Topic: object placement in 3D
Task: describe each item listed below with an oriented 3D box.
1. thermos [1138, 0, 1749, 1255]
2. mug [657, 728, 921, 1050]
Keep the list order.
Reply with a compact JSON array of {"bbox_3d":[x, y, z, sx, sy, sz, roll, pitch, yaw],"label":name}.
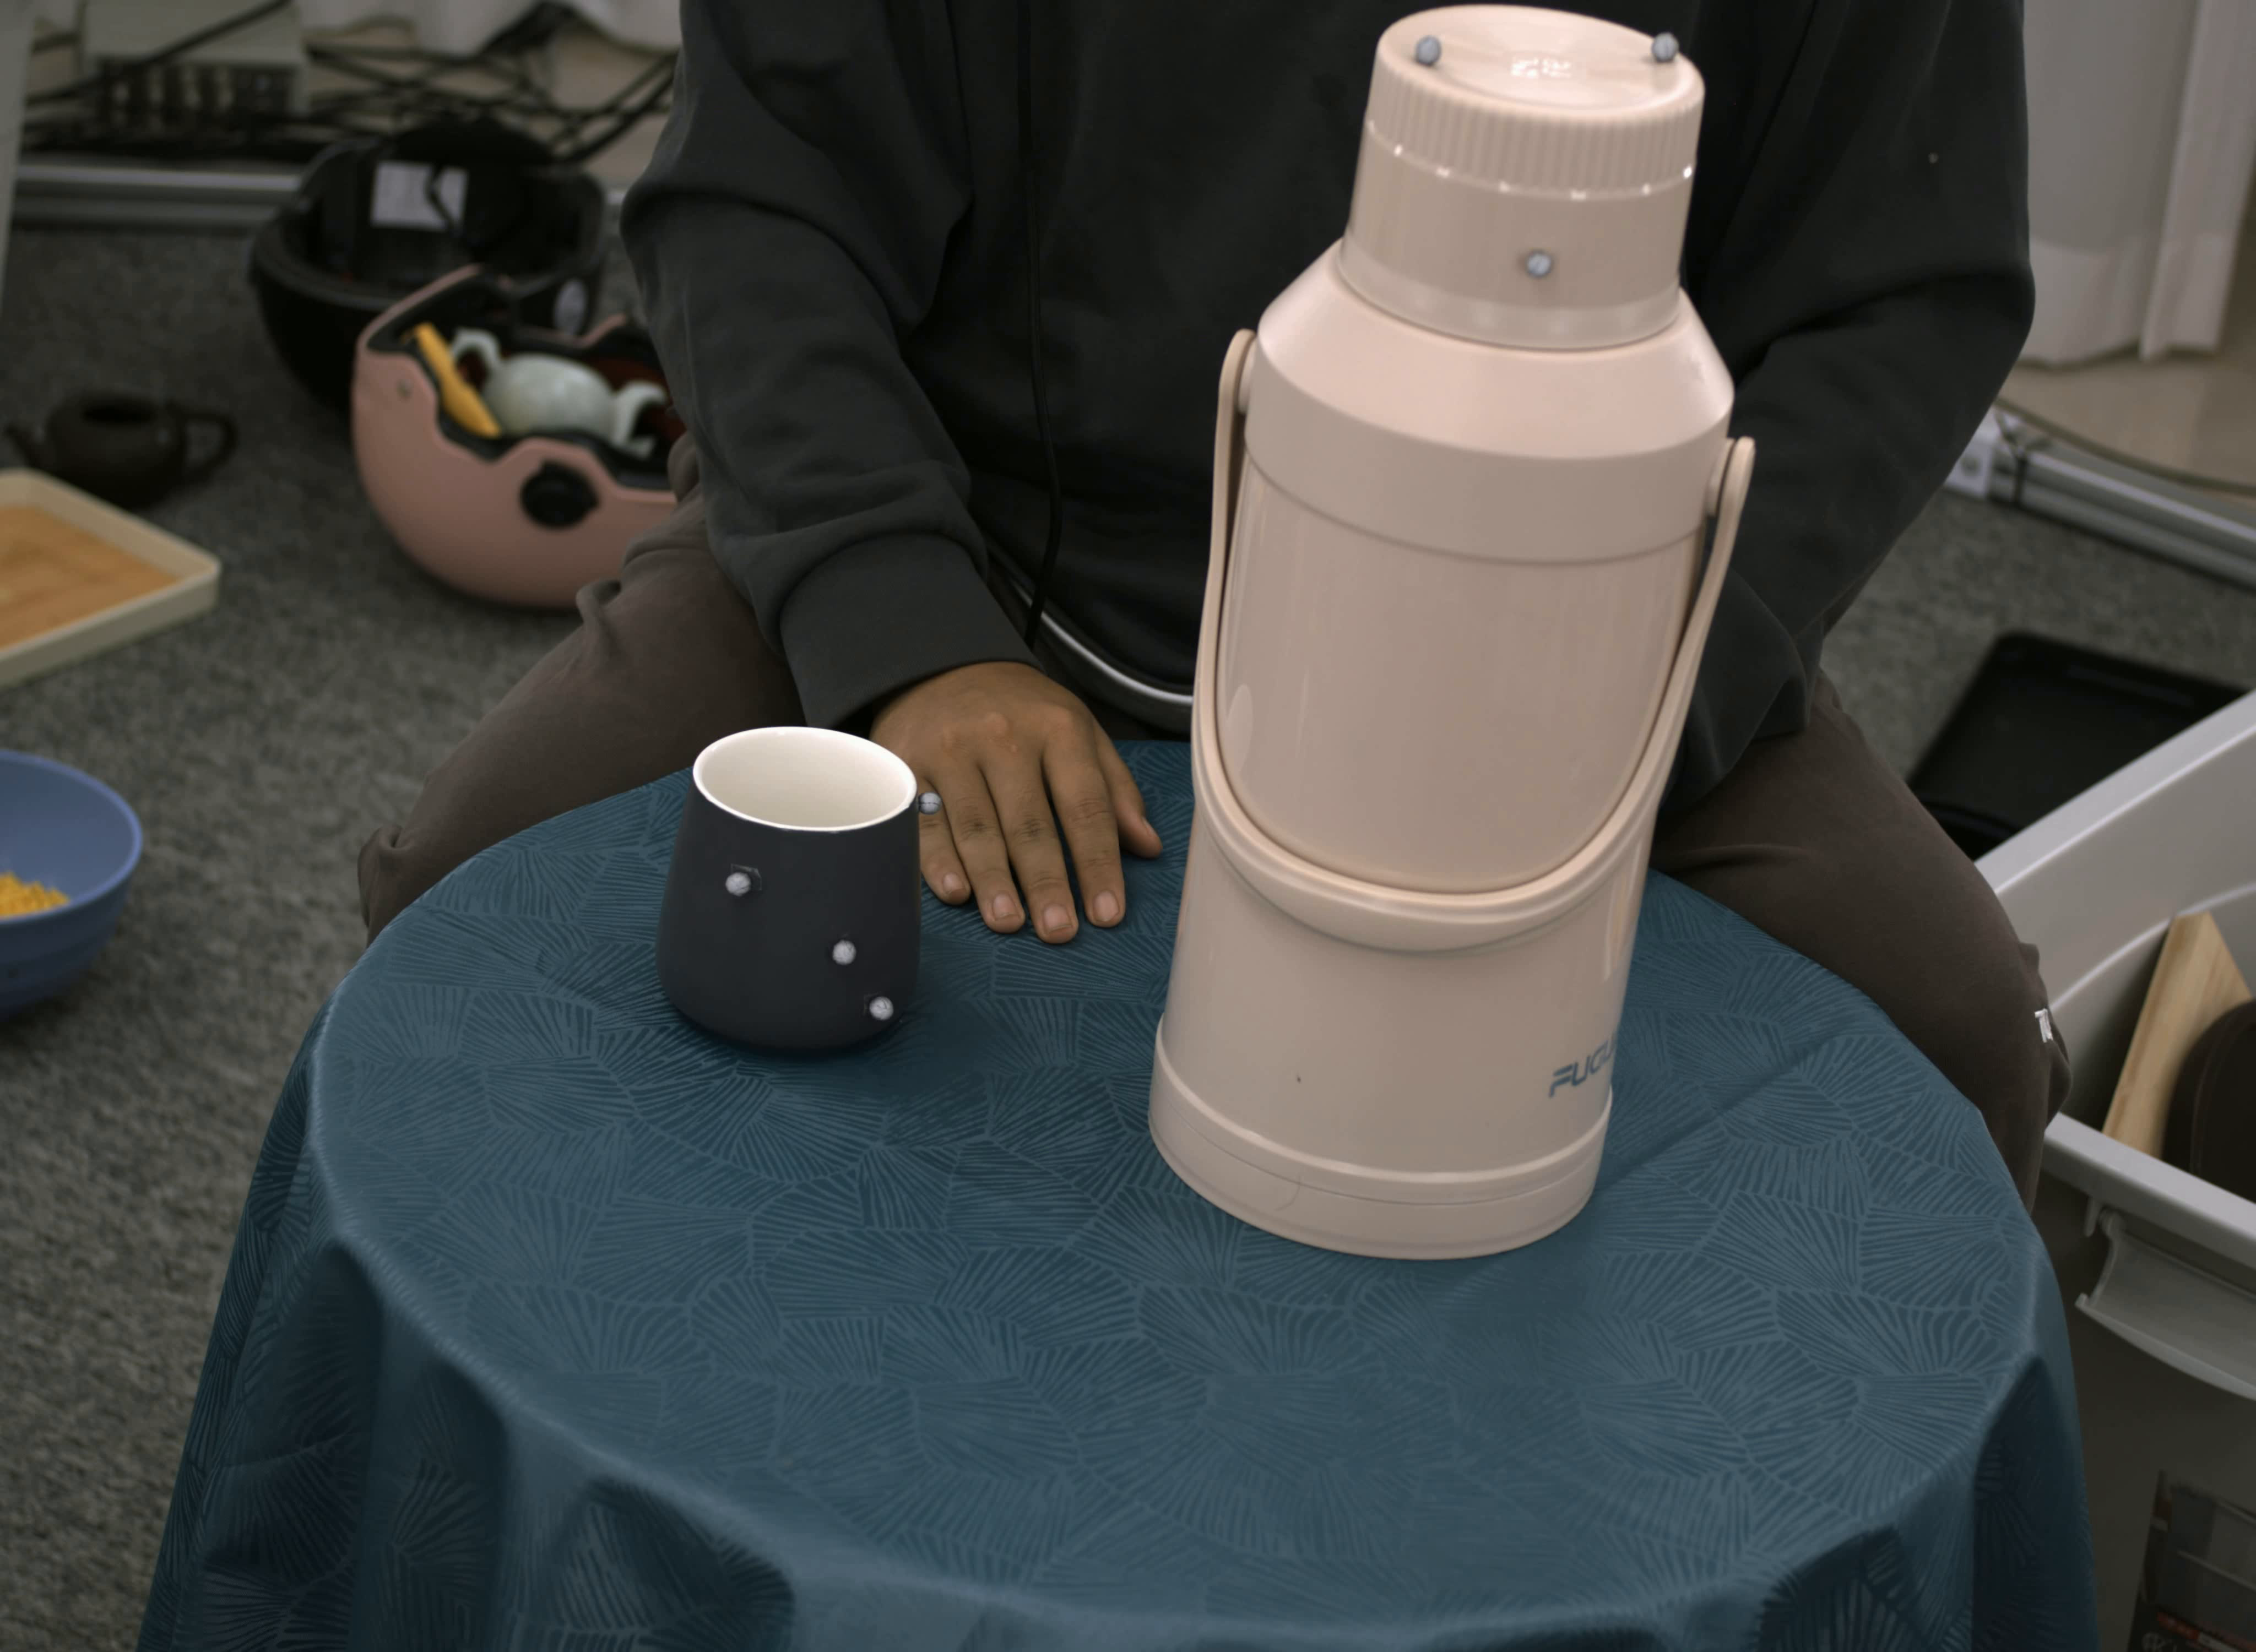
[{"bbox_3d":[0.111,-0.072,1.781,0.175,0.405,0.207,13,27,11],"label":"thermos"},{"bbox_3d":[-0.111,0.017,1.890,0.094,0.089,0.123,17,28,19],"label":"mug"}]
